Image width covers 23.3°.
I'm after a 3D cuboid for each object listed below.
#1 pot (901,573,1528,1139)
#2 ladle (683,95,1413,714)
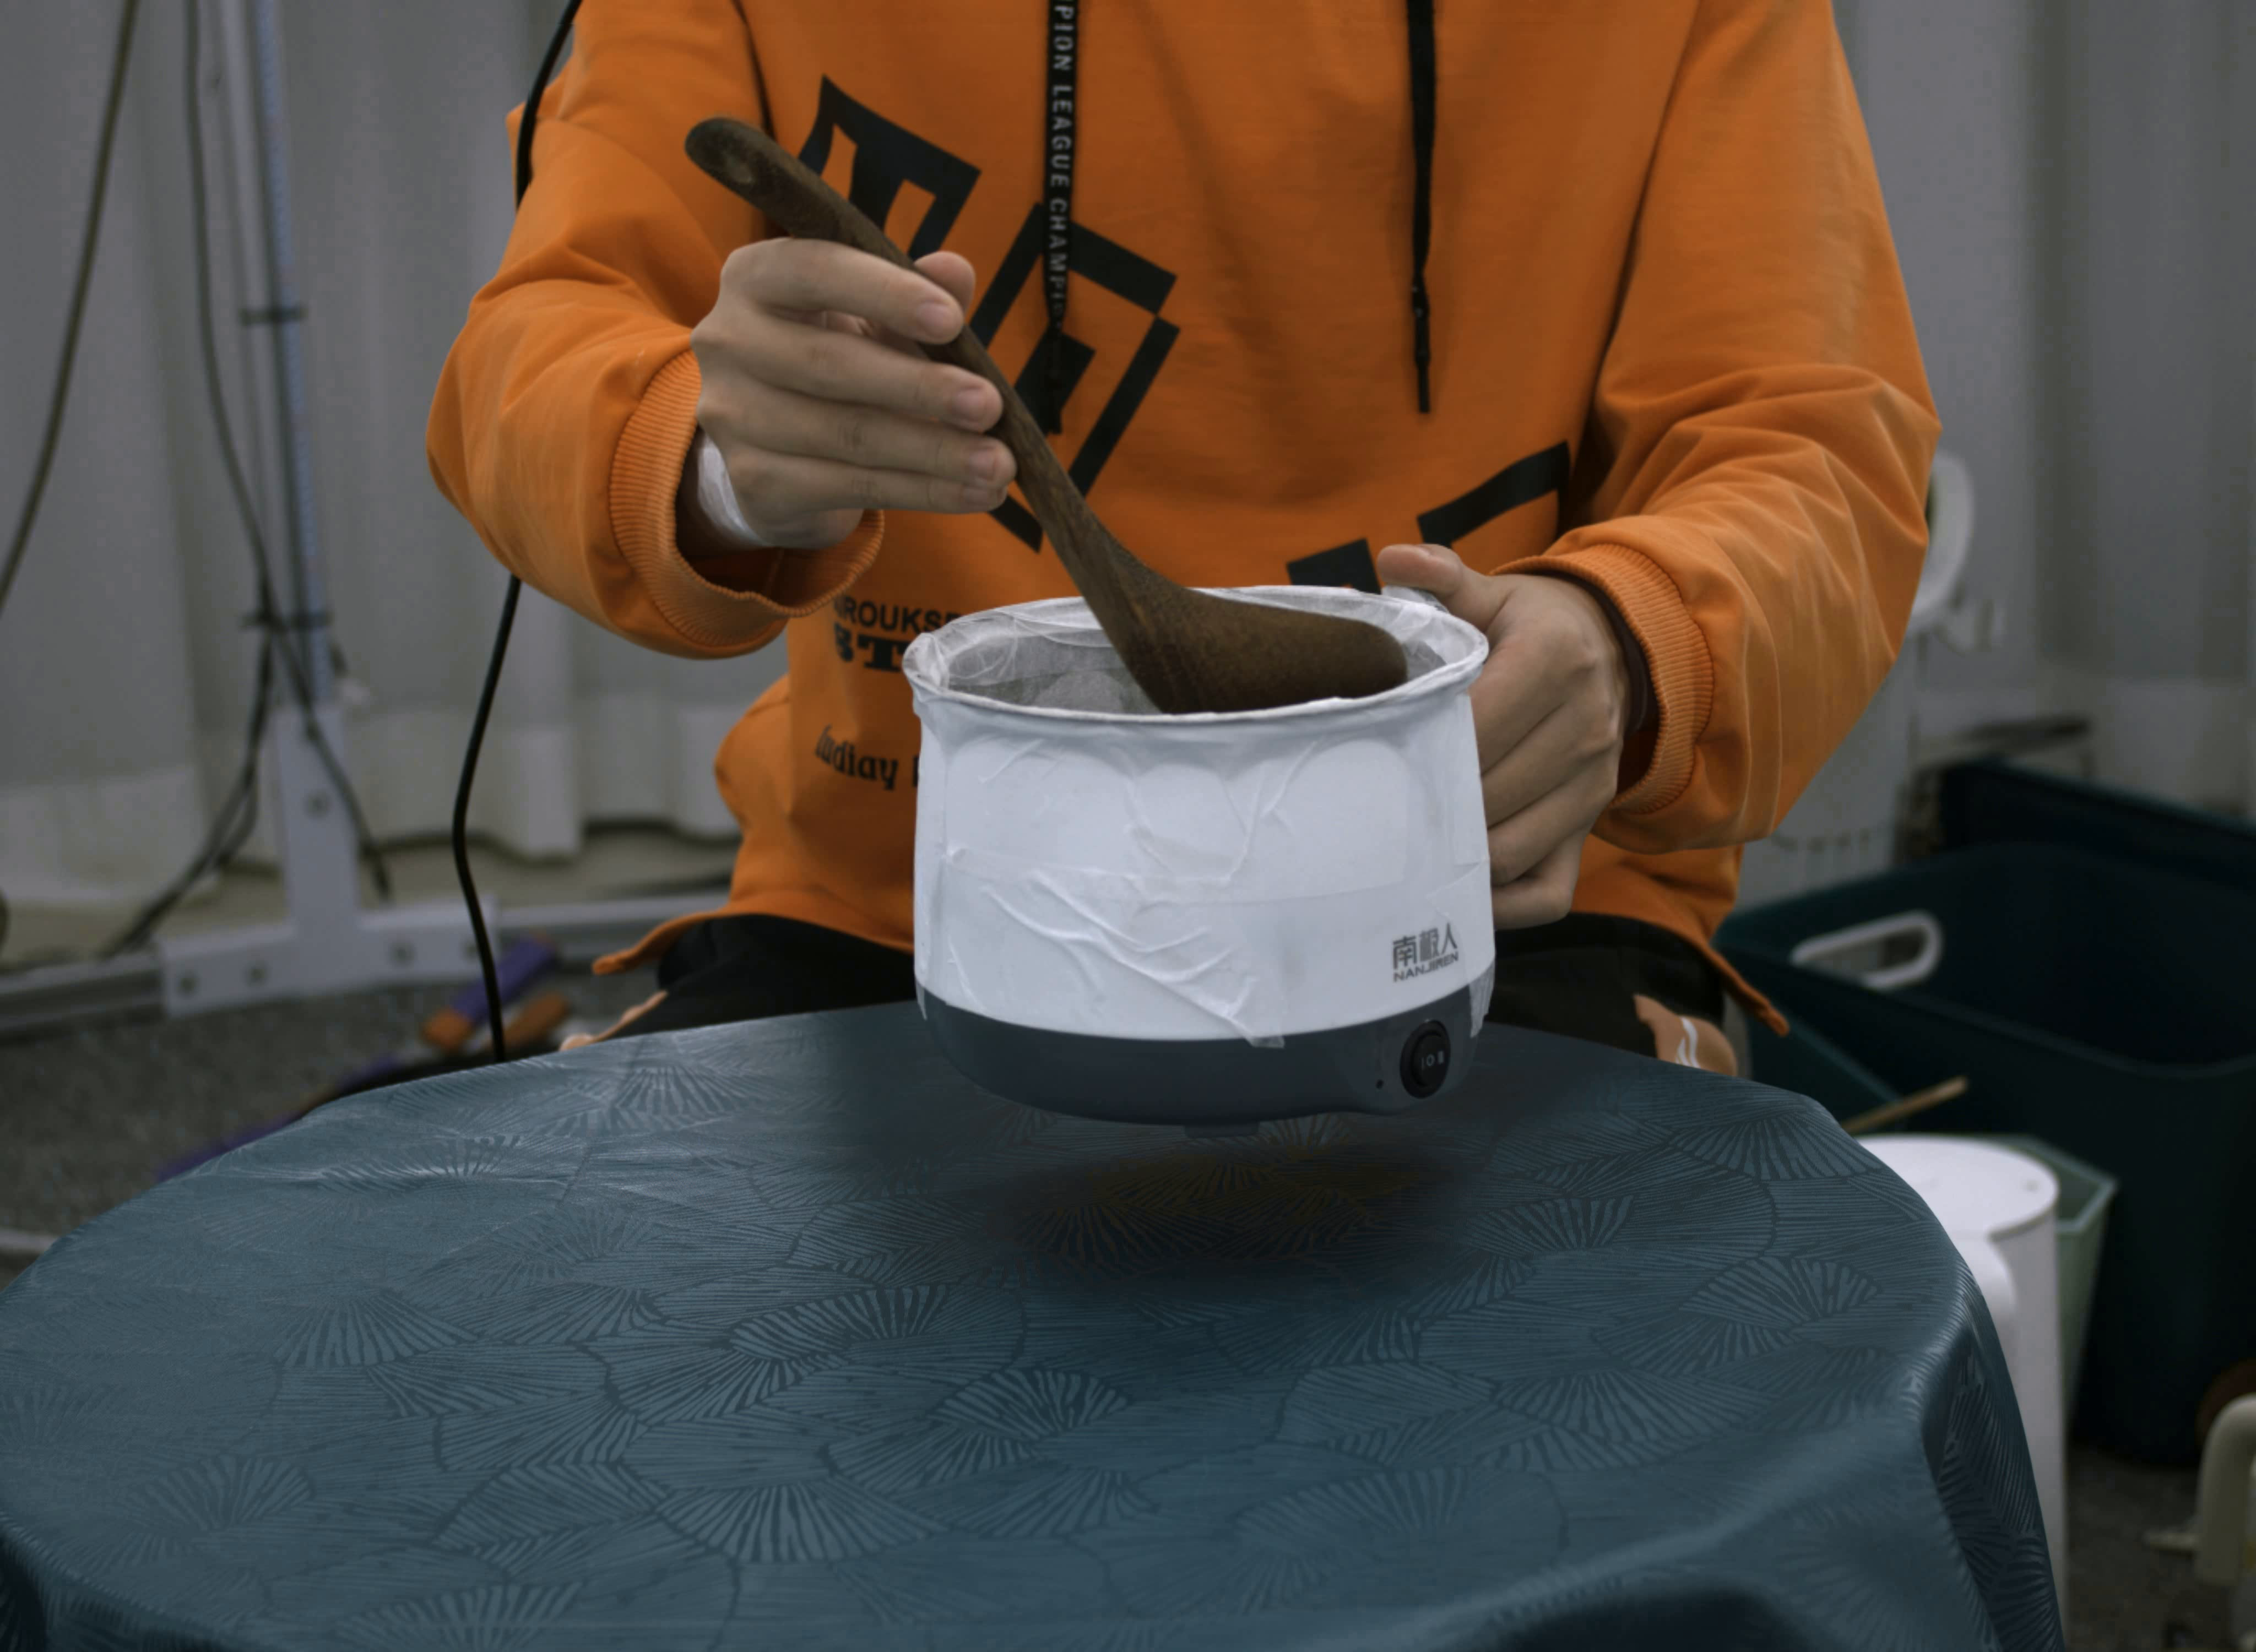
[{"bbox_3d":[0.040,0.002,1.677,0.179,0.136,0.233,11,19,39],"label":"pot"},{"bbox_3d":[-0.023,-0.126,1.646,0.071,0.275,0.075,-32,-14,-35],"label":"ladle"}]
